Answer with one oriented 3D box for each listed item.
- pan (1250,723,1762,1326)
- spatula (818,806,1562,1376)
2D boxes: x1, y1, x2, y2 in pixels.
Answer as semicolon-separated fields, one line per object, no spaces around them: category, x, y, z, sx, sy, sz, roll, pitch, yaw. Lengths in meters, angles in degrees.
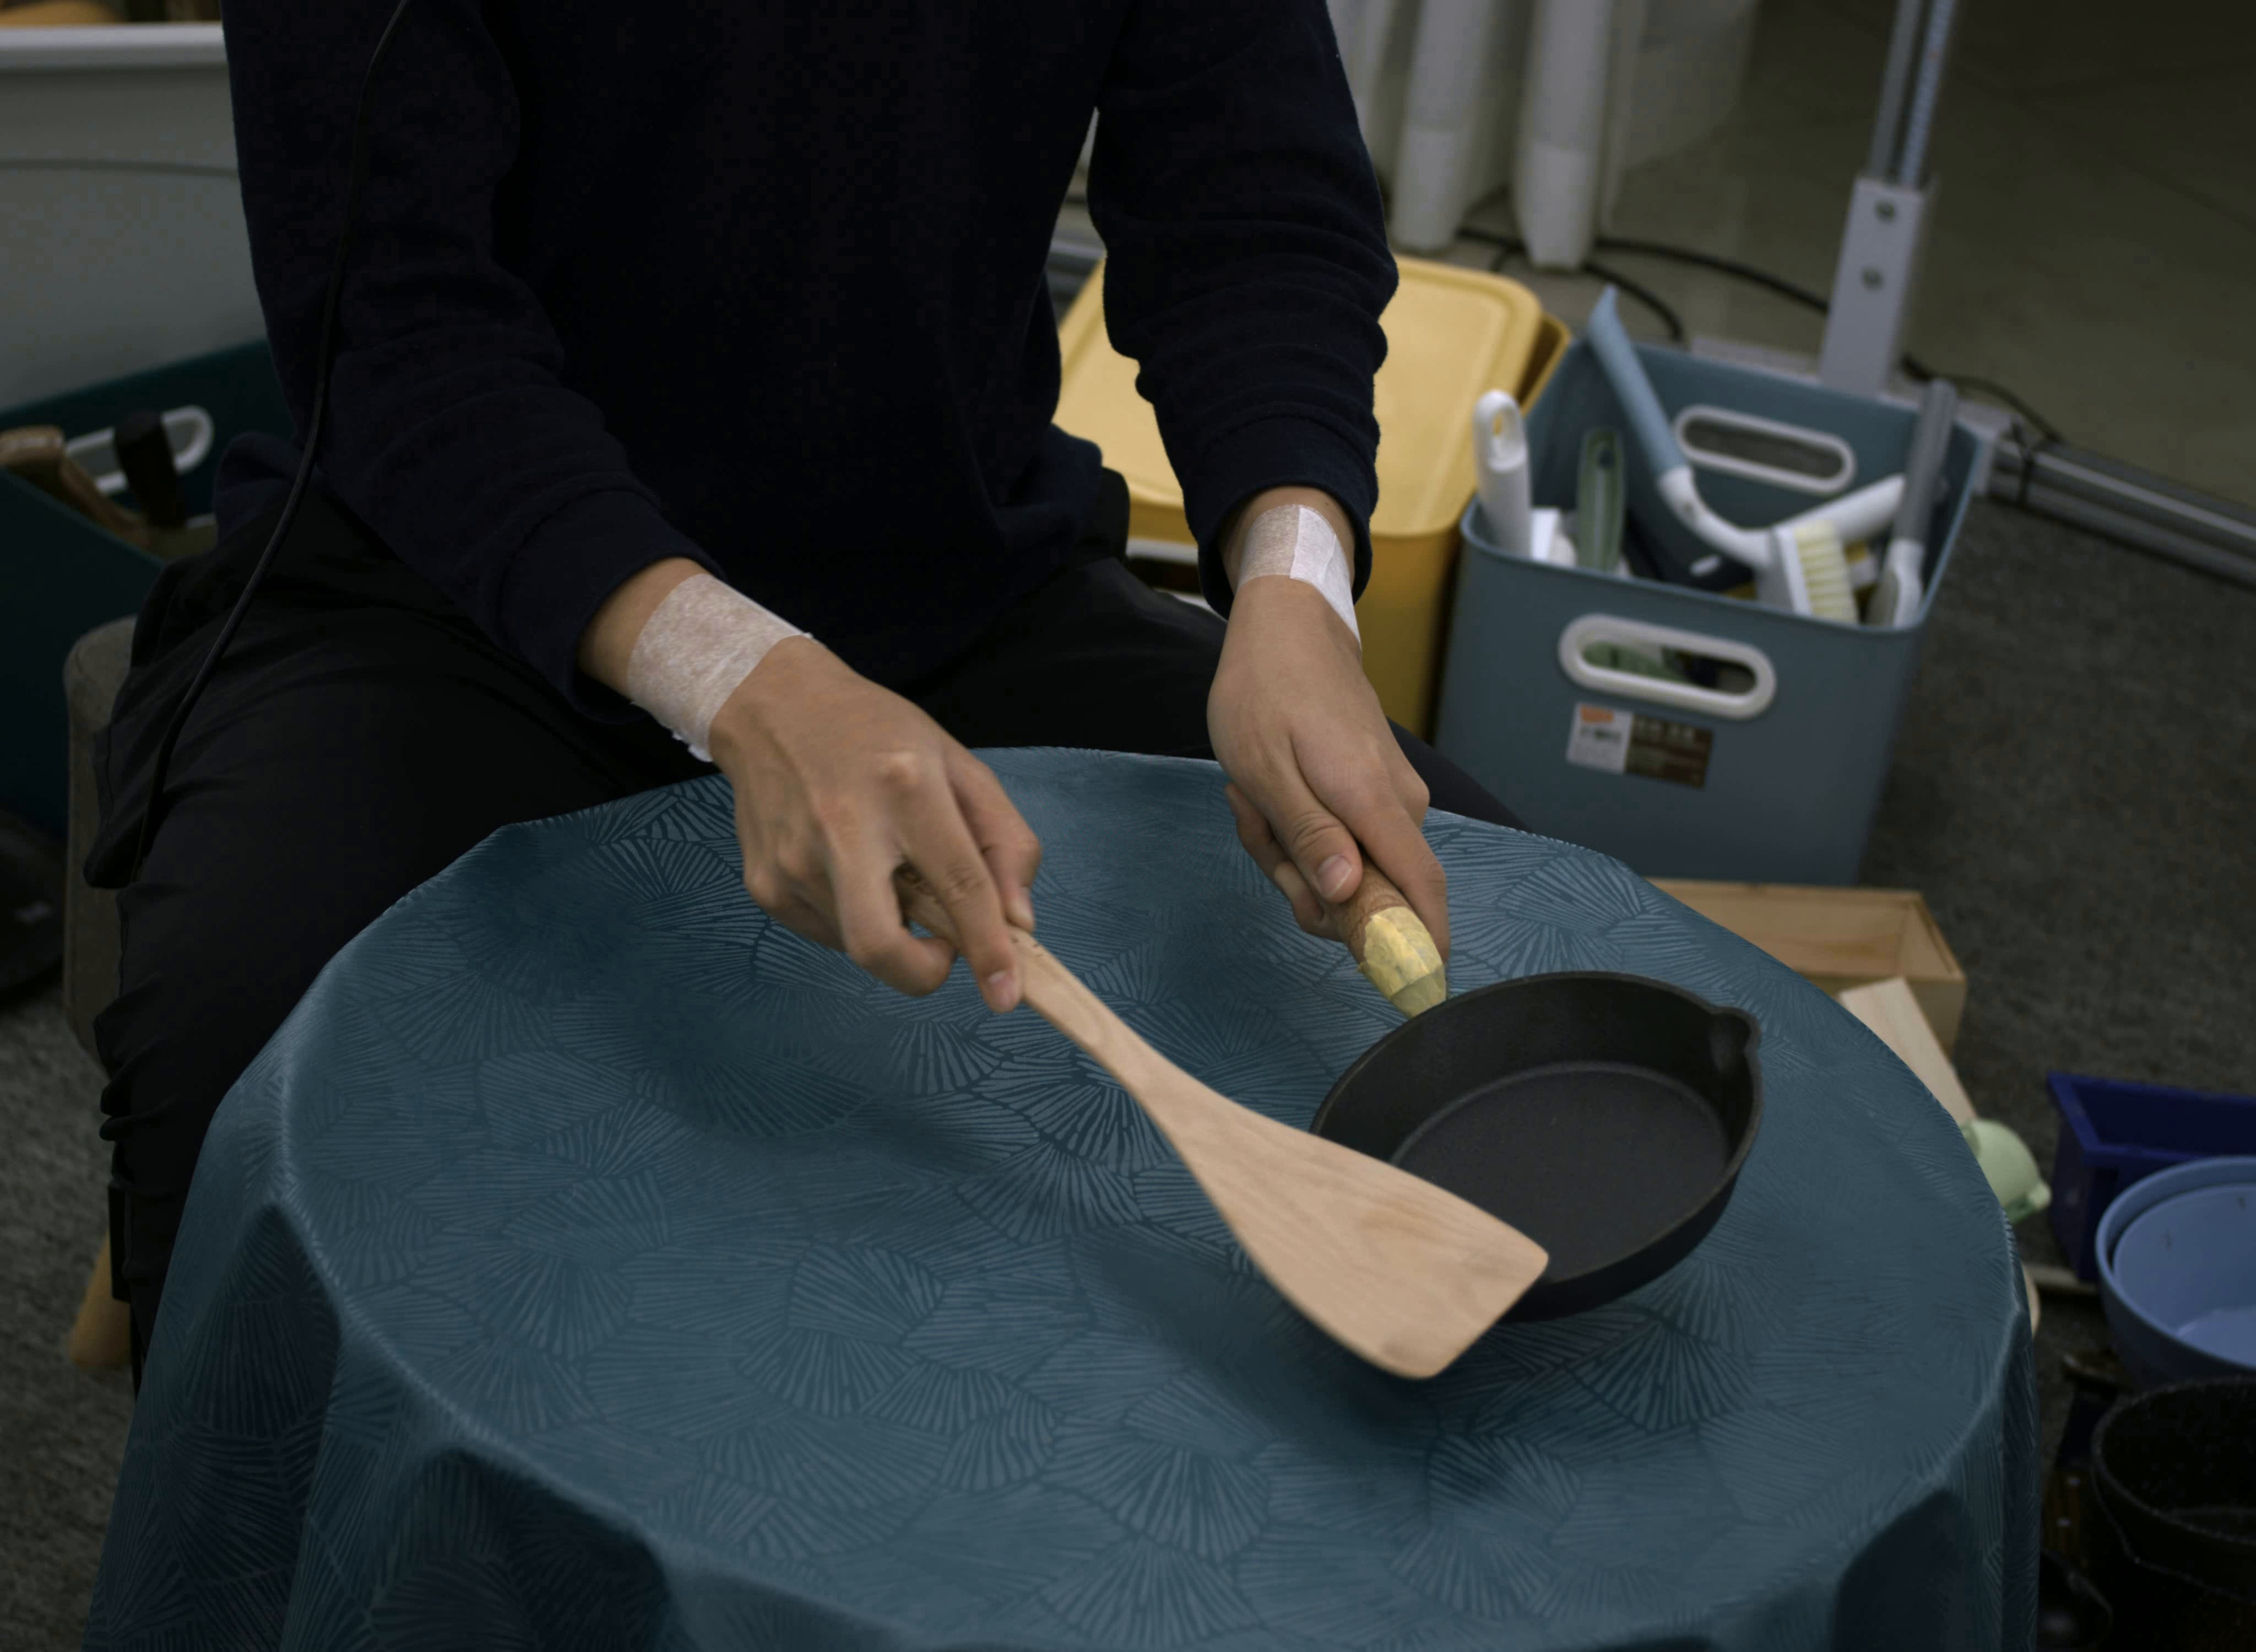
pan;0.109;0.062;1.837;0.168;0.049;0.327;-24;37;-5
spatula;0.010;0.078;1.757;0.079;0.016;0.330;-27;51;-35
